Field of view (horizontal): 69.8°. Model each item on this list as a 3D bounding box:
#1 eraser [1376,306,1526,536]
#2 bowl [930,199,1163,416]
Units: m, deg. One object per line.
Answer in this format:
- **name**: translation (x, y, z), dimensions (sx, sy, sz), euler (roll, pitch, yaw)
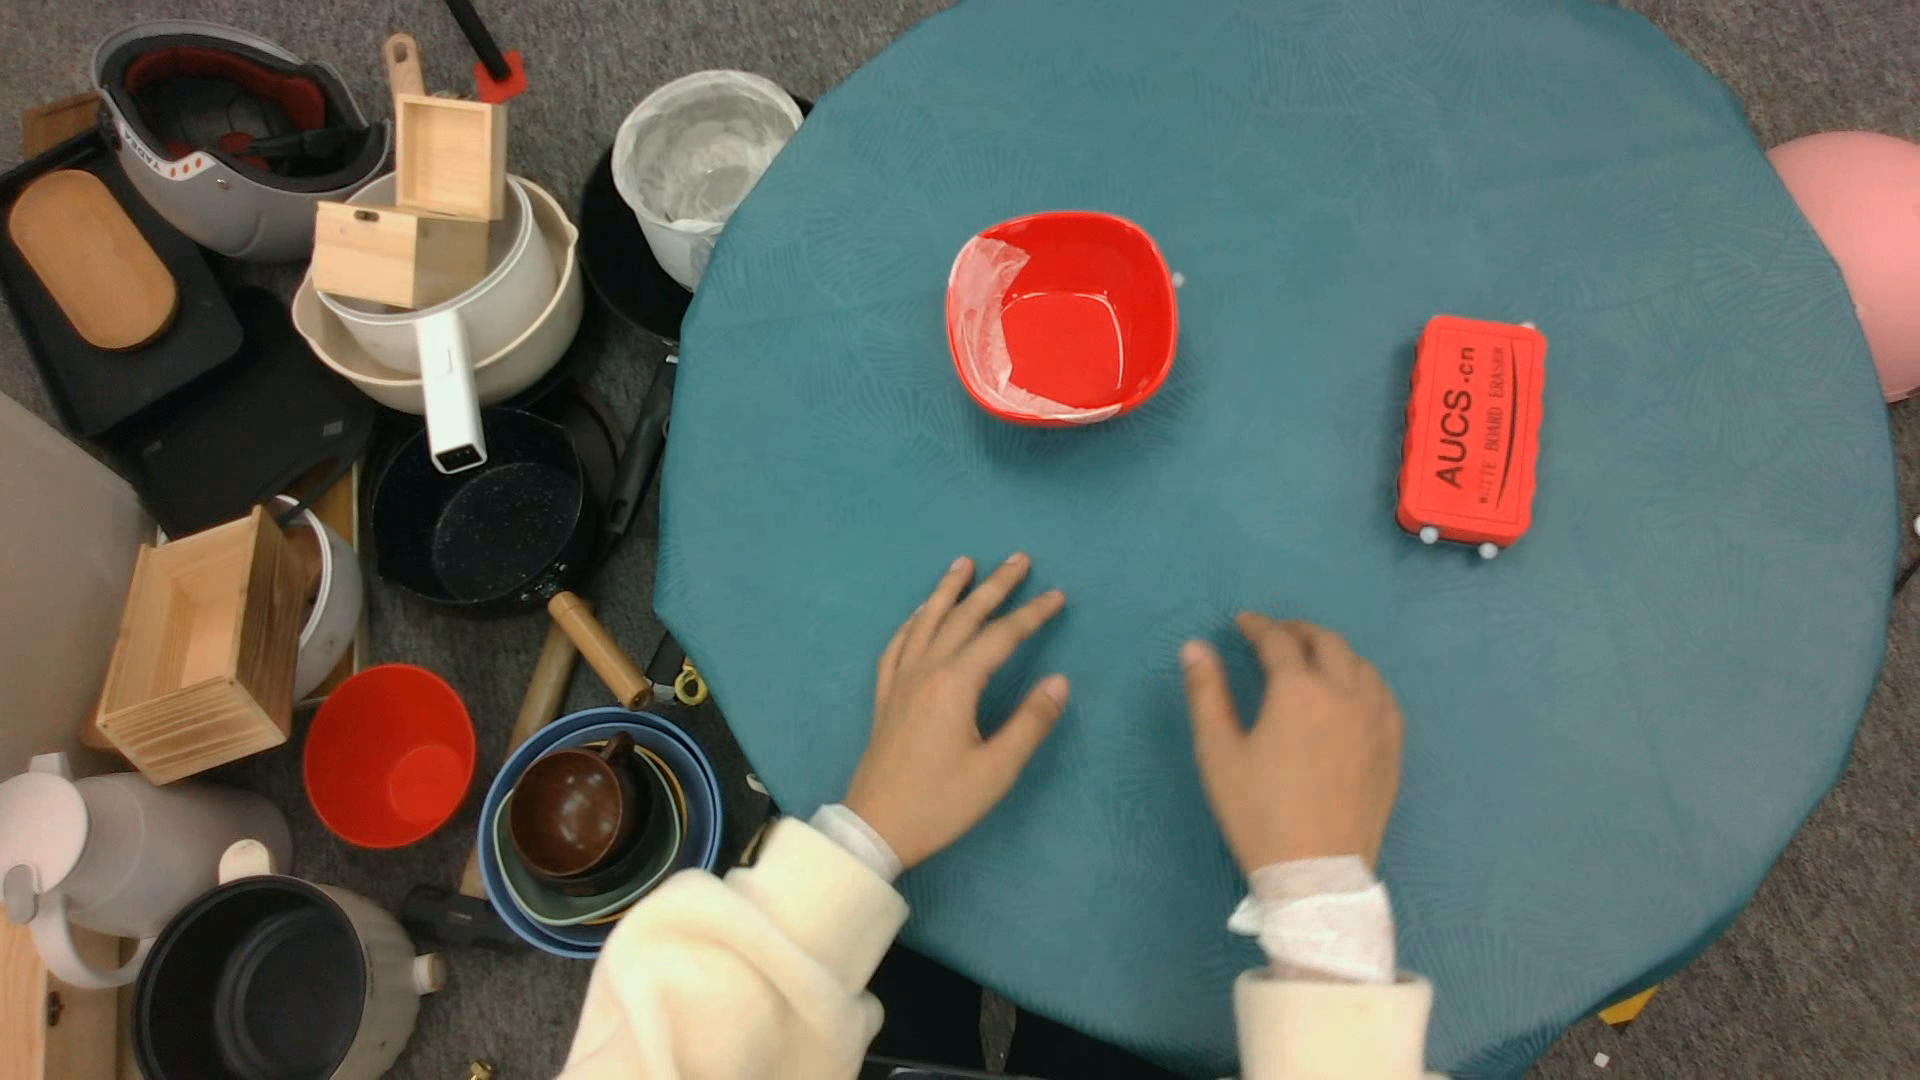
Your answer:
- **eraser**: translation (0.238, -0.058, 0.666), dimensions (0.059, 0.023, 0.108), euler (11, 73, 4)
- **bowl**: translation (0.042, -0.107, 0.678), dimensions (0.119, 0.051, 0.119), euler (0, 73, 2)
